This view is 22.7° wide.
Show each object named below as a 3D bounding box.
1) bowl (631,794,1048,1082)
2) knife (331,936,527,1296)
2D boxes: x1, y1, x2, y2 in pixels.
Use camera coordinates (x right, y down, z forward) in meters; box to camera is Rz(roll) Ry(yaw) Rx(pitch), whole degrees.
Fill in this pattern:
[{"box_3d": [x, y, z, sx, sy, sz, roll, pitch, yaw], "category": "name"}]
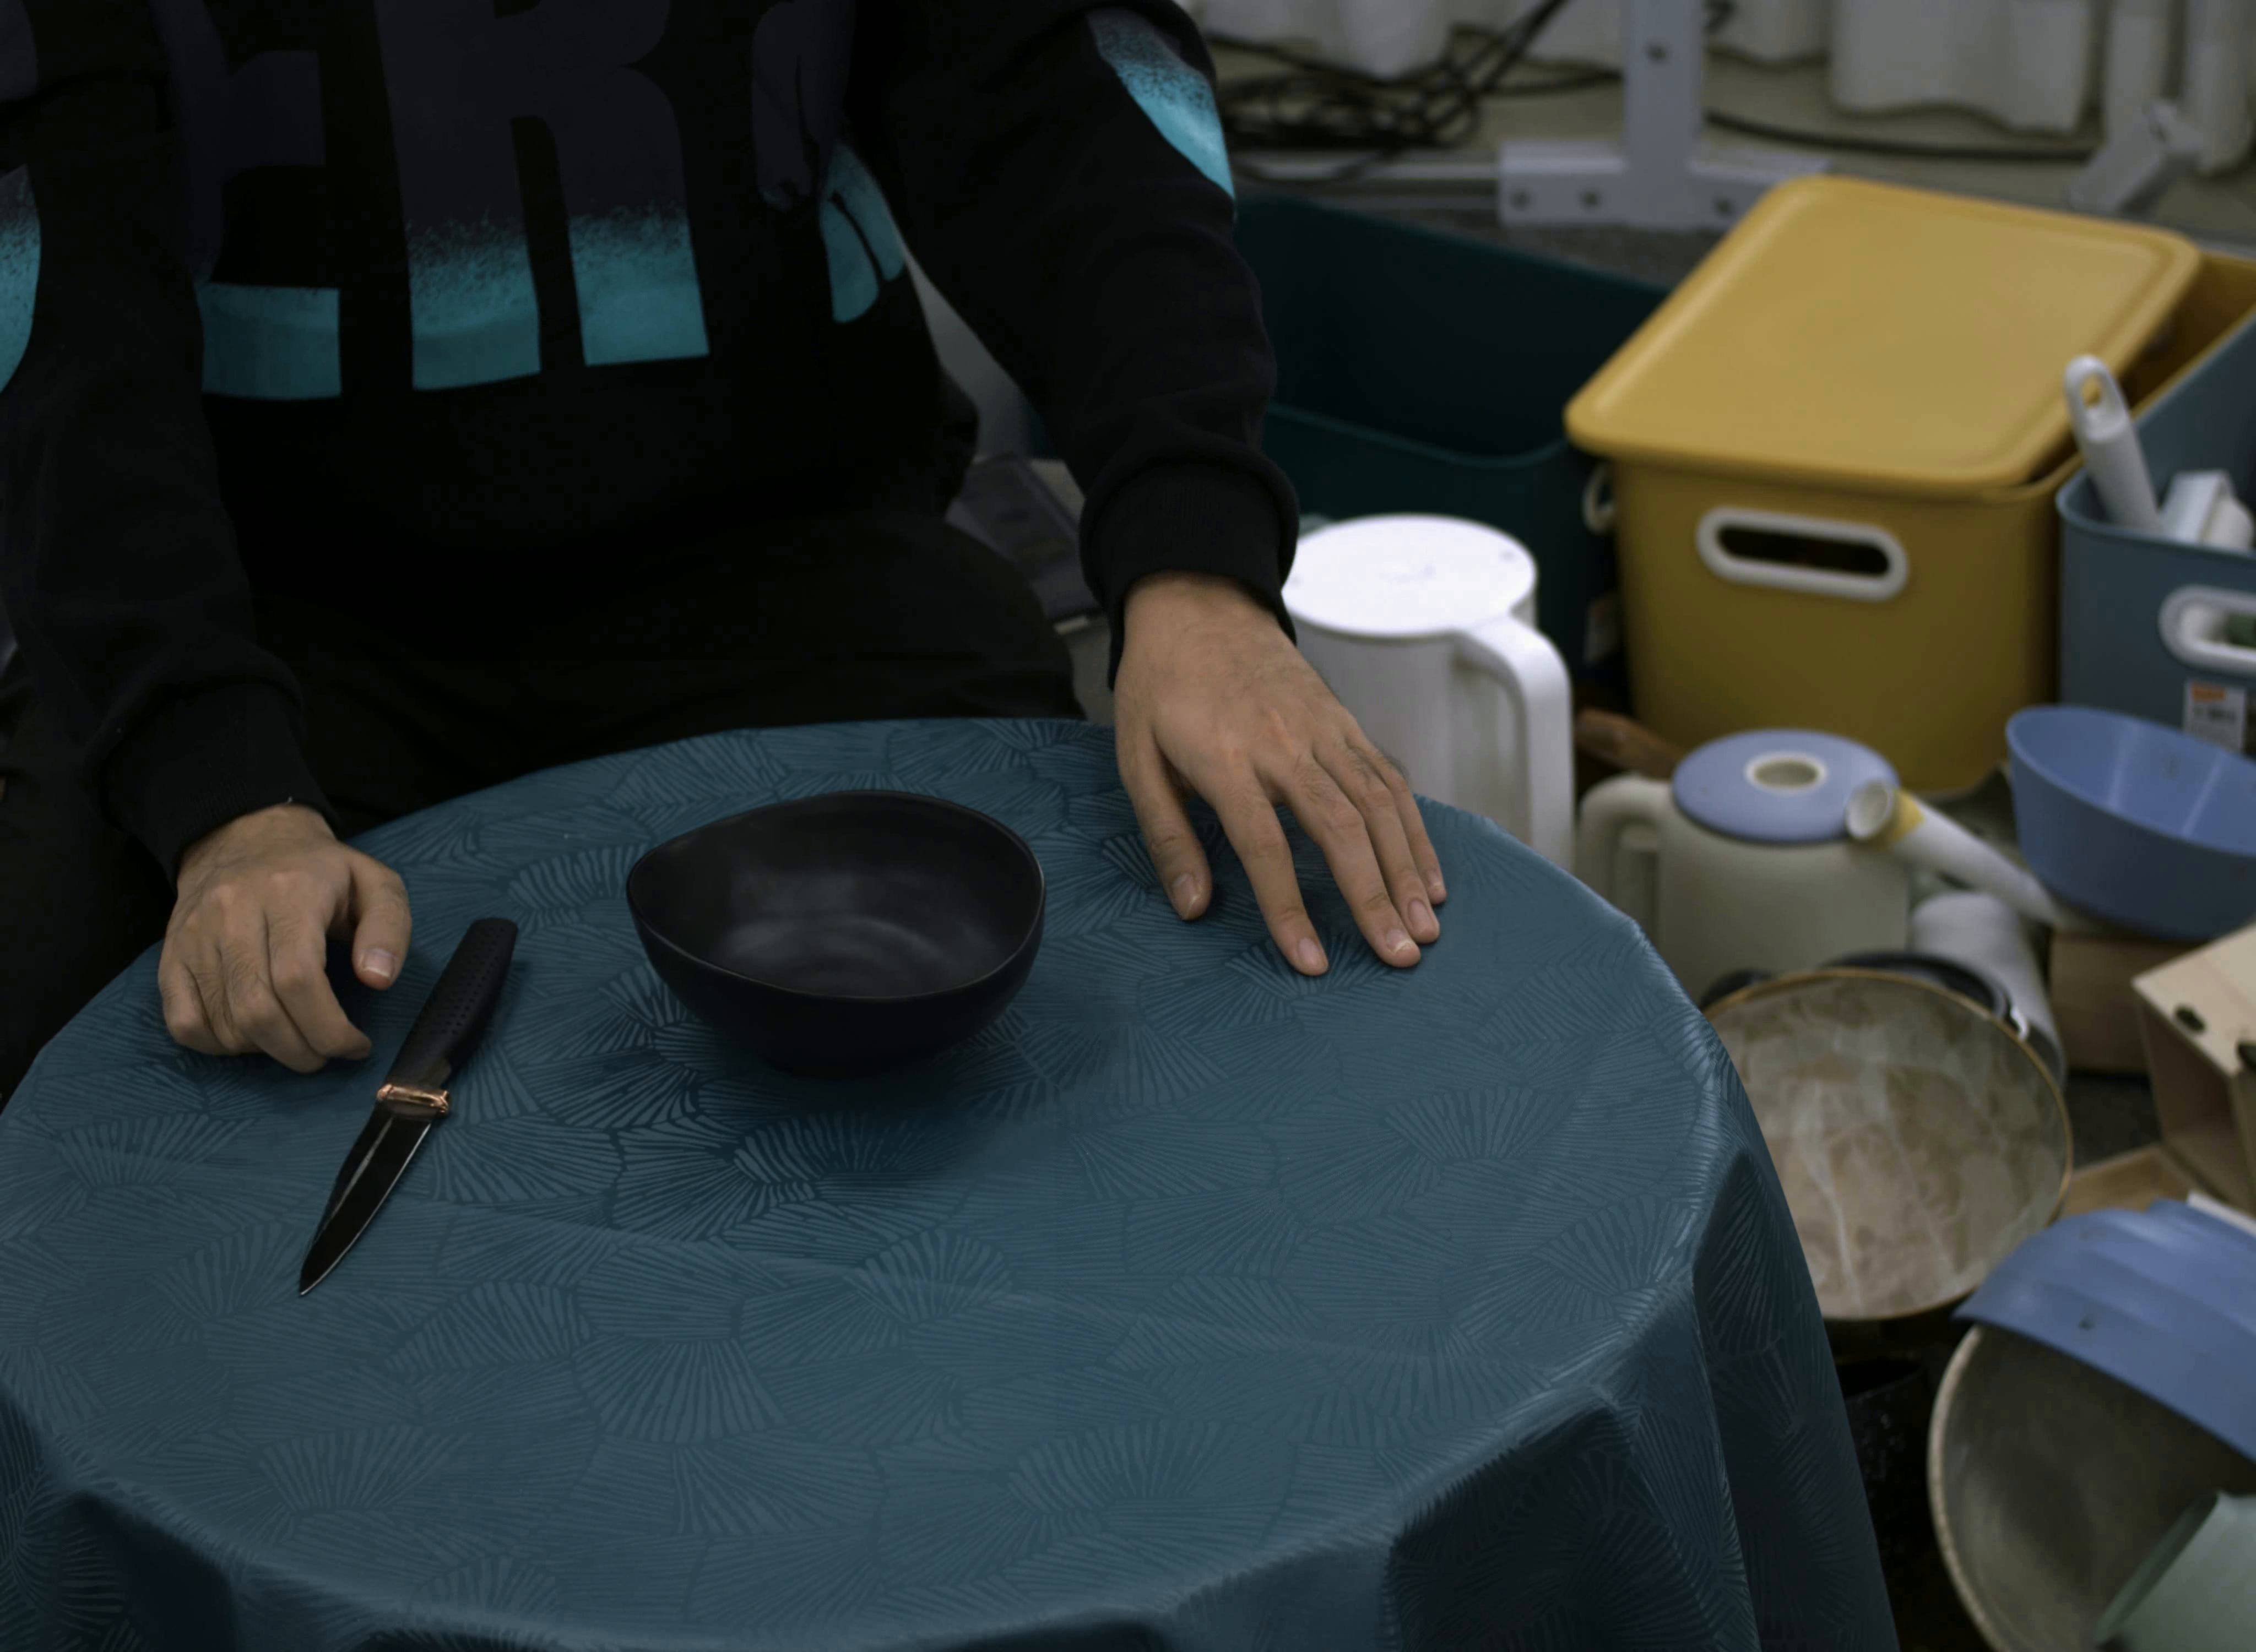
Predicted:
[{"box_3d": [-0.100, 0.046, 1.948, 0.138, 0.066, 0.170, -20, 30, -30], "category": "bowl"}, {"box_3d": [-0.242, 0.098, 1.919, 0.026, 0.017, 0.229, -2, 28, 13], "category": "knife"}]
